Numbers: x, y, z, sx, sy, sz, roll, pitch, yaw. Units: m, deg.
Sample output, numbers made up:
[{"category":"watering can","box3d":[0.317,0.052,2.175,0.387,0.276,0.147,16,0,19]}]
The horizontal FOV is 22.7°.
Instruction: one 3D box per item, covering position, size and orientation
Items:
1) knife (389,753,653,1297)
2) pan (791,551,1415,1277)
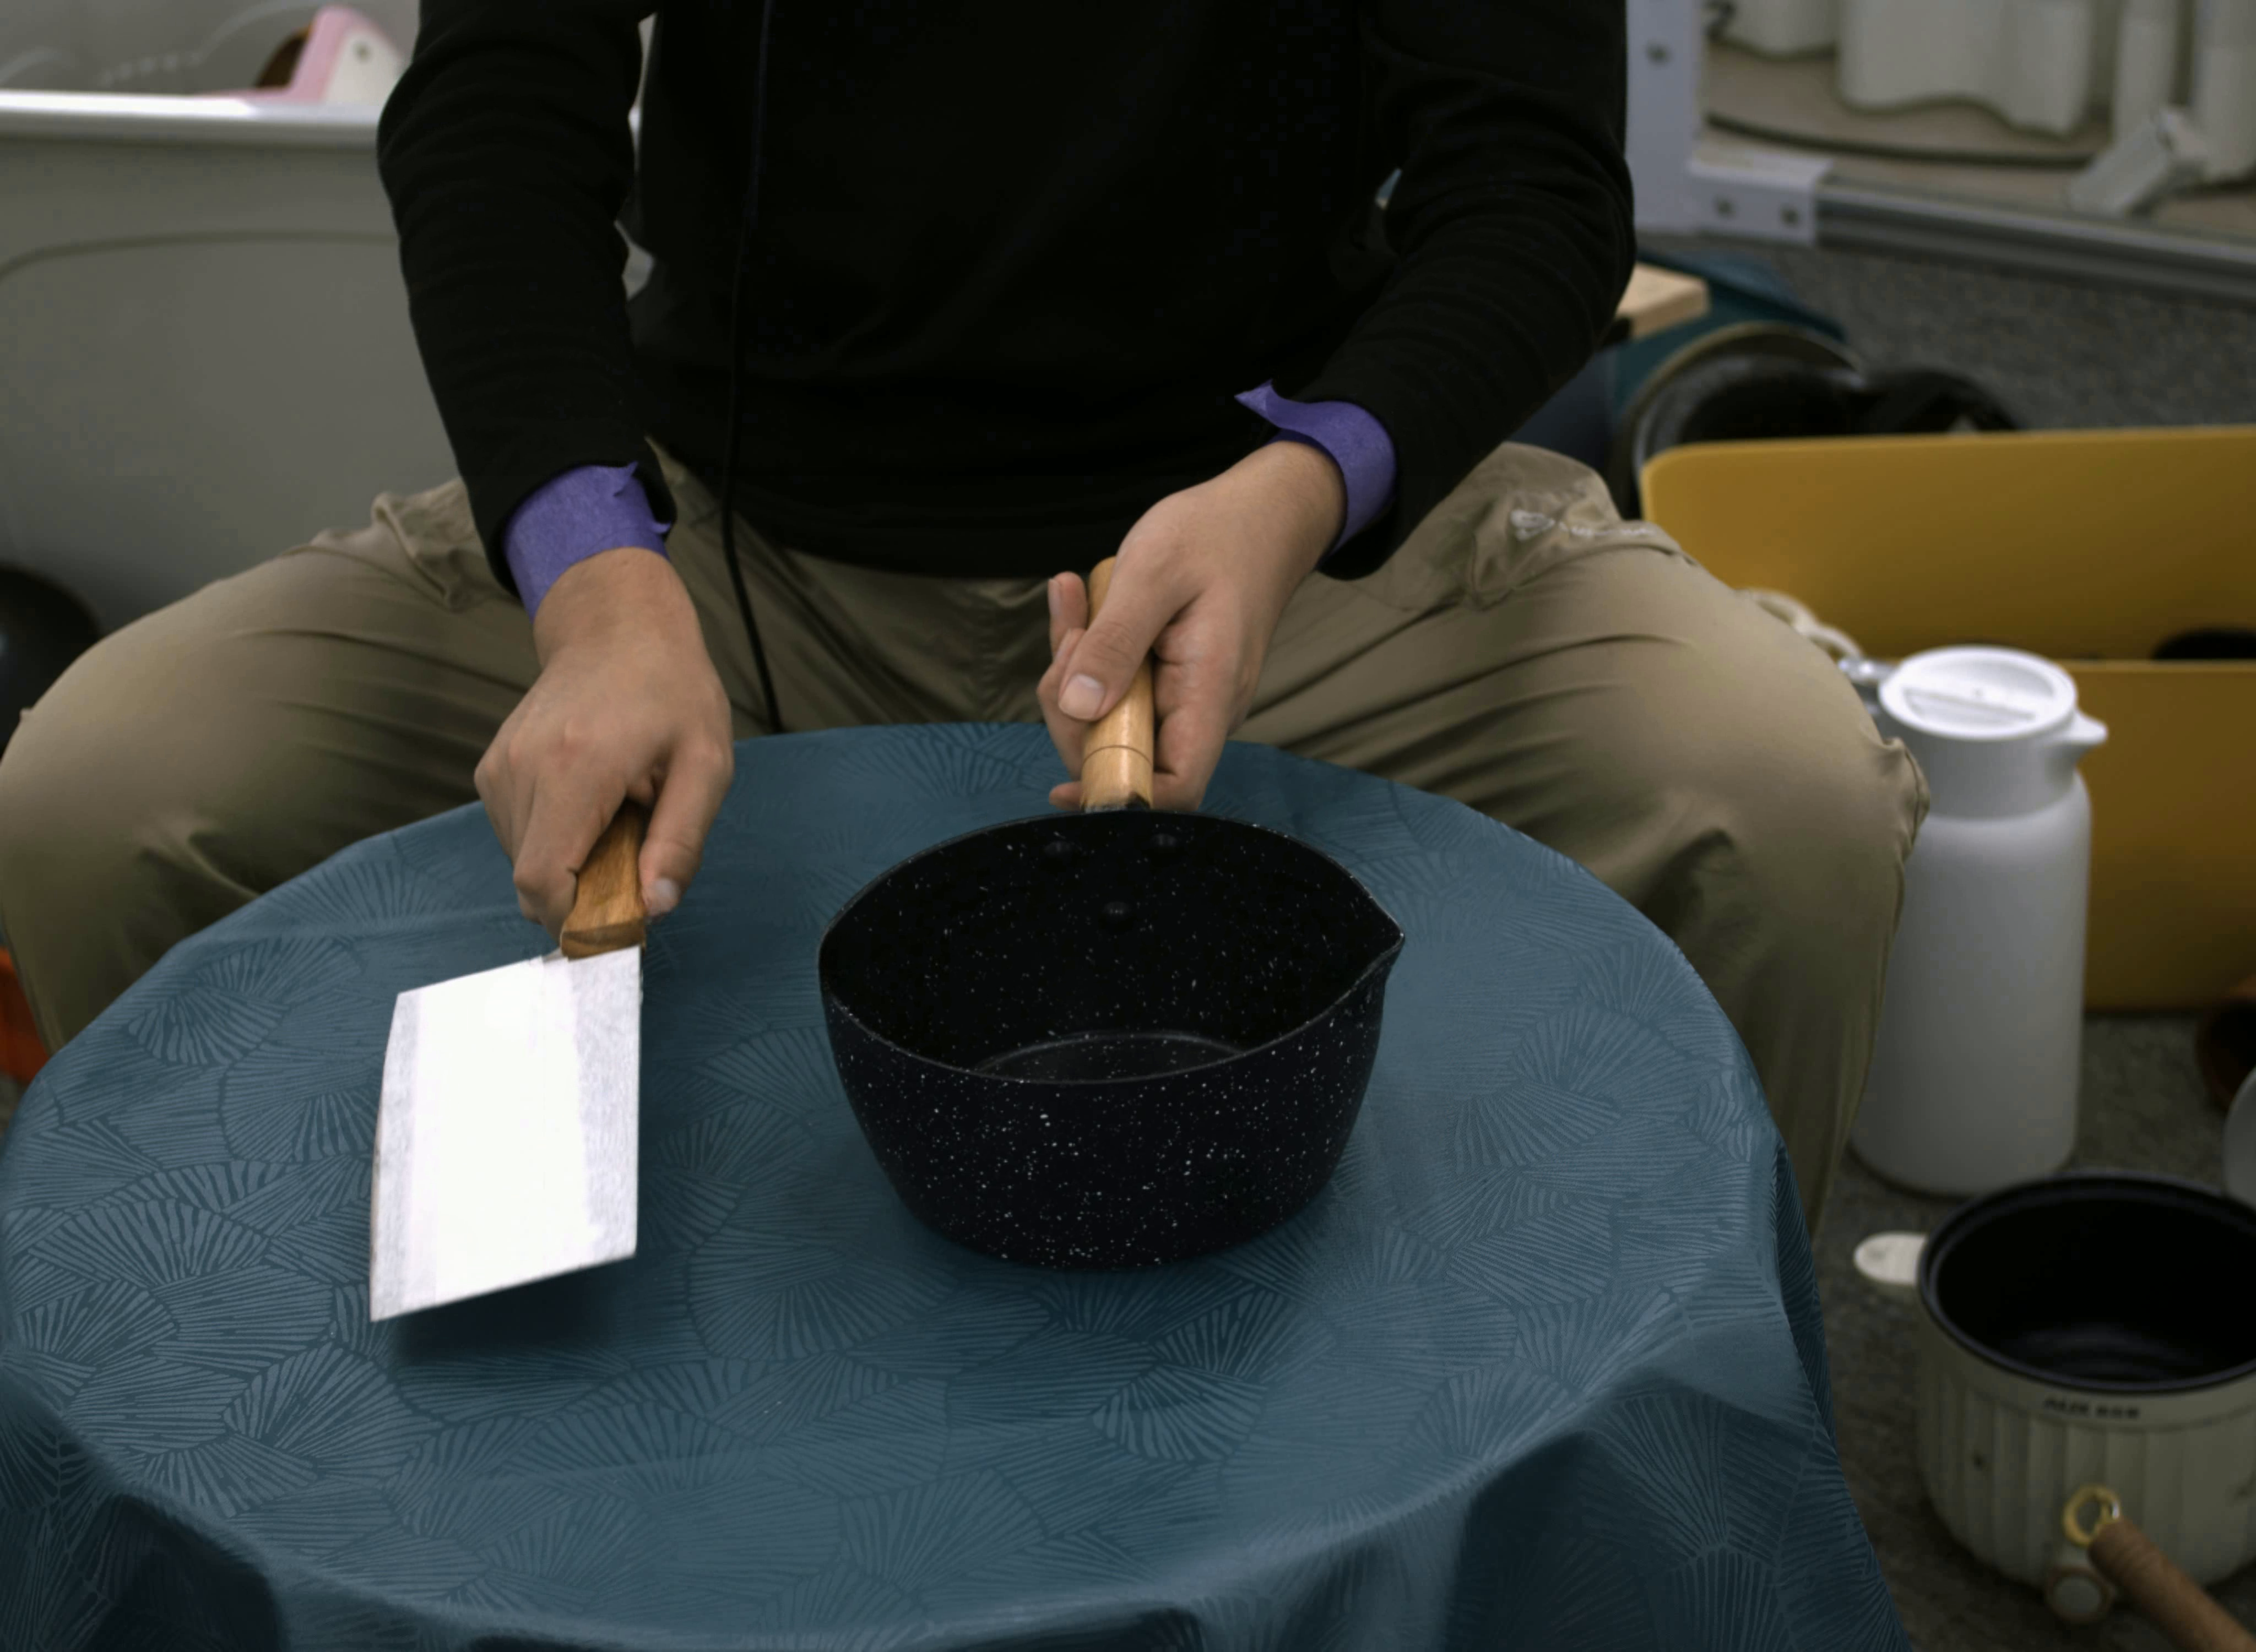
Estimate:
[{"category":"knife","box3d":[-0.206,0.066,1.902,0.092,0.021,0.310,-15,30,4]},{"category":"pan","box3d":[-0.007,0.027,1.928,0.206,0.107,0.348,-2,28,2]}]
